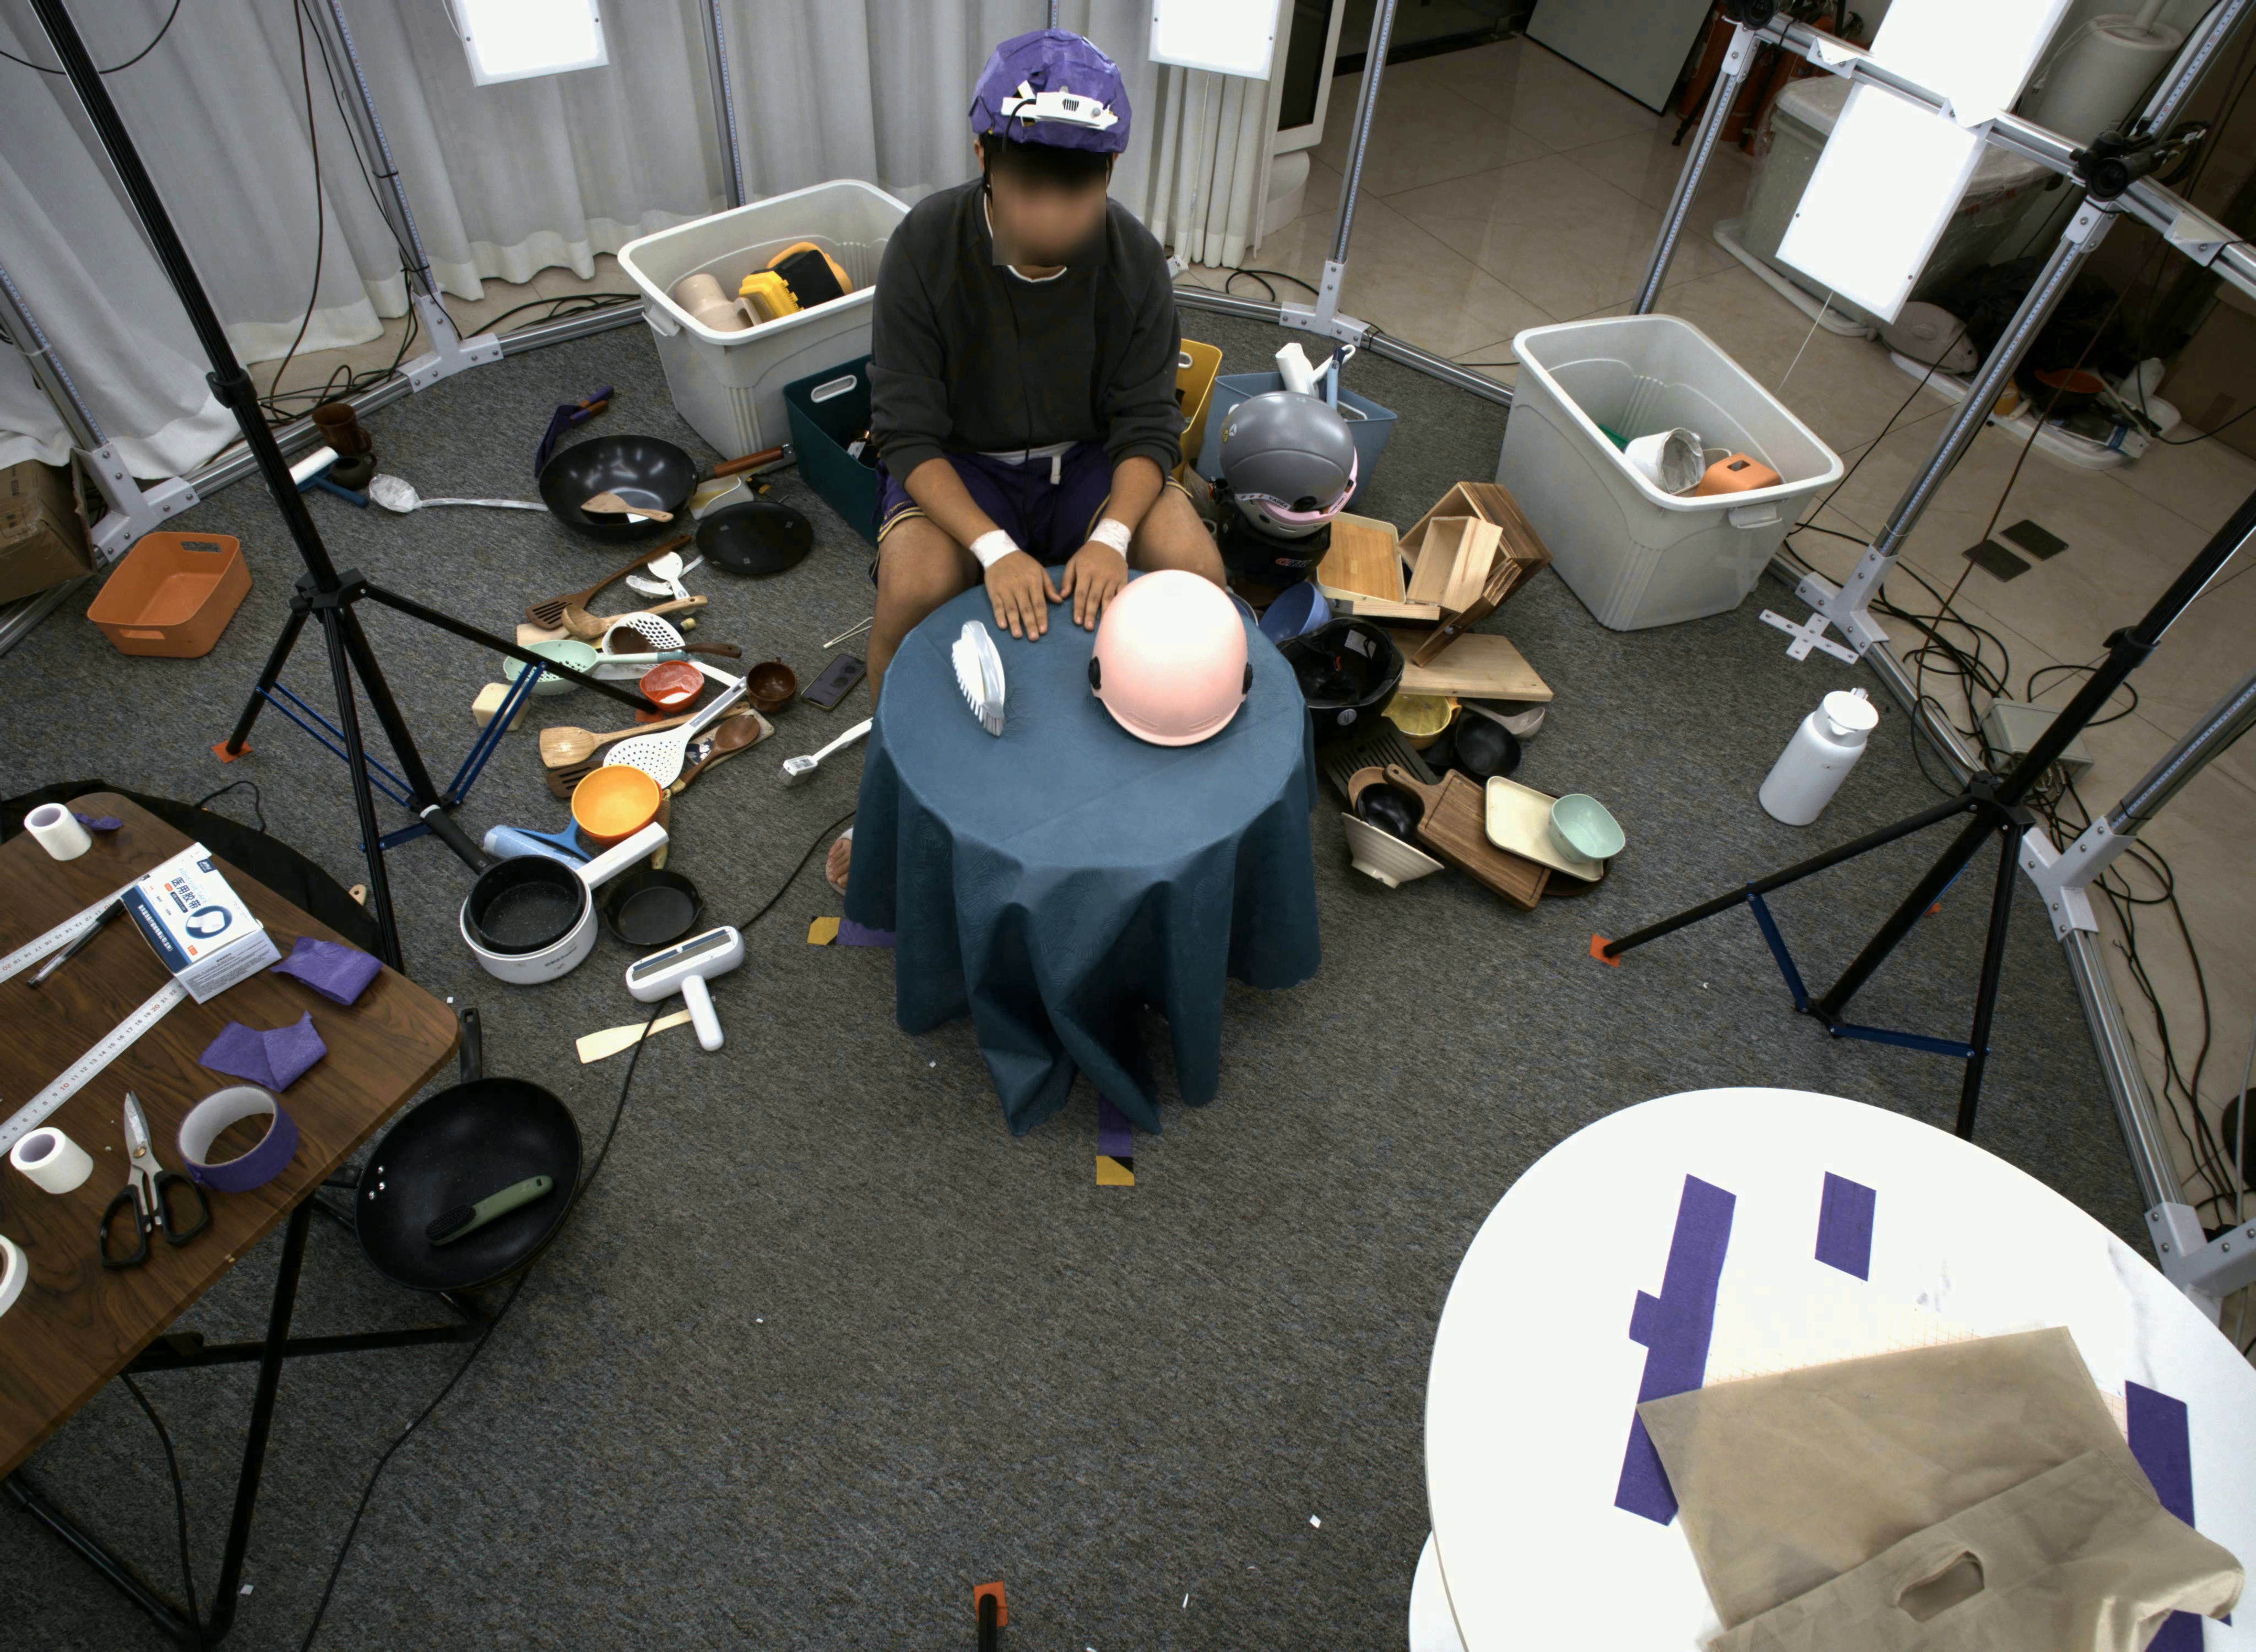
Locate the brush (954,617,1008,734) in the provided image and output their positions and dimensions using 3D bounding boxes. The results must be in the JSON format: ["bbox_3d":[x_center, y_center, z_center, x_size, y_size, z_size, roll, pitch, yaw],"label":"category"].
[{"bbox_3d":[-0.198,-0.218,1.783,0.061,0.092,0.180,-11,53,-13],"label":"brush"}]

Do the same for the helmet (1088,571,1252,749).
[{"bbox_3d":[0.062,-0.253,1.793,0.234,0.155,0.272,1,53,-4],"label":"helmet"}]
